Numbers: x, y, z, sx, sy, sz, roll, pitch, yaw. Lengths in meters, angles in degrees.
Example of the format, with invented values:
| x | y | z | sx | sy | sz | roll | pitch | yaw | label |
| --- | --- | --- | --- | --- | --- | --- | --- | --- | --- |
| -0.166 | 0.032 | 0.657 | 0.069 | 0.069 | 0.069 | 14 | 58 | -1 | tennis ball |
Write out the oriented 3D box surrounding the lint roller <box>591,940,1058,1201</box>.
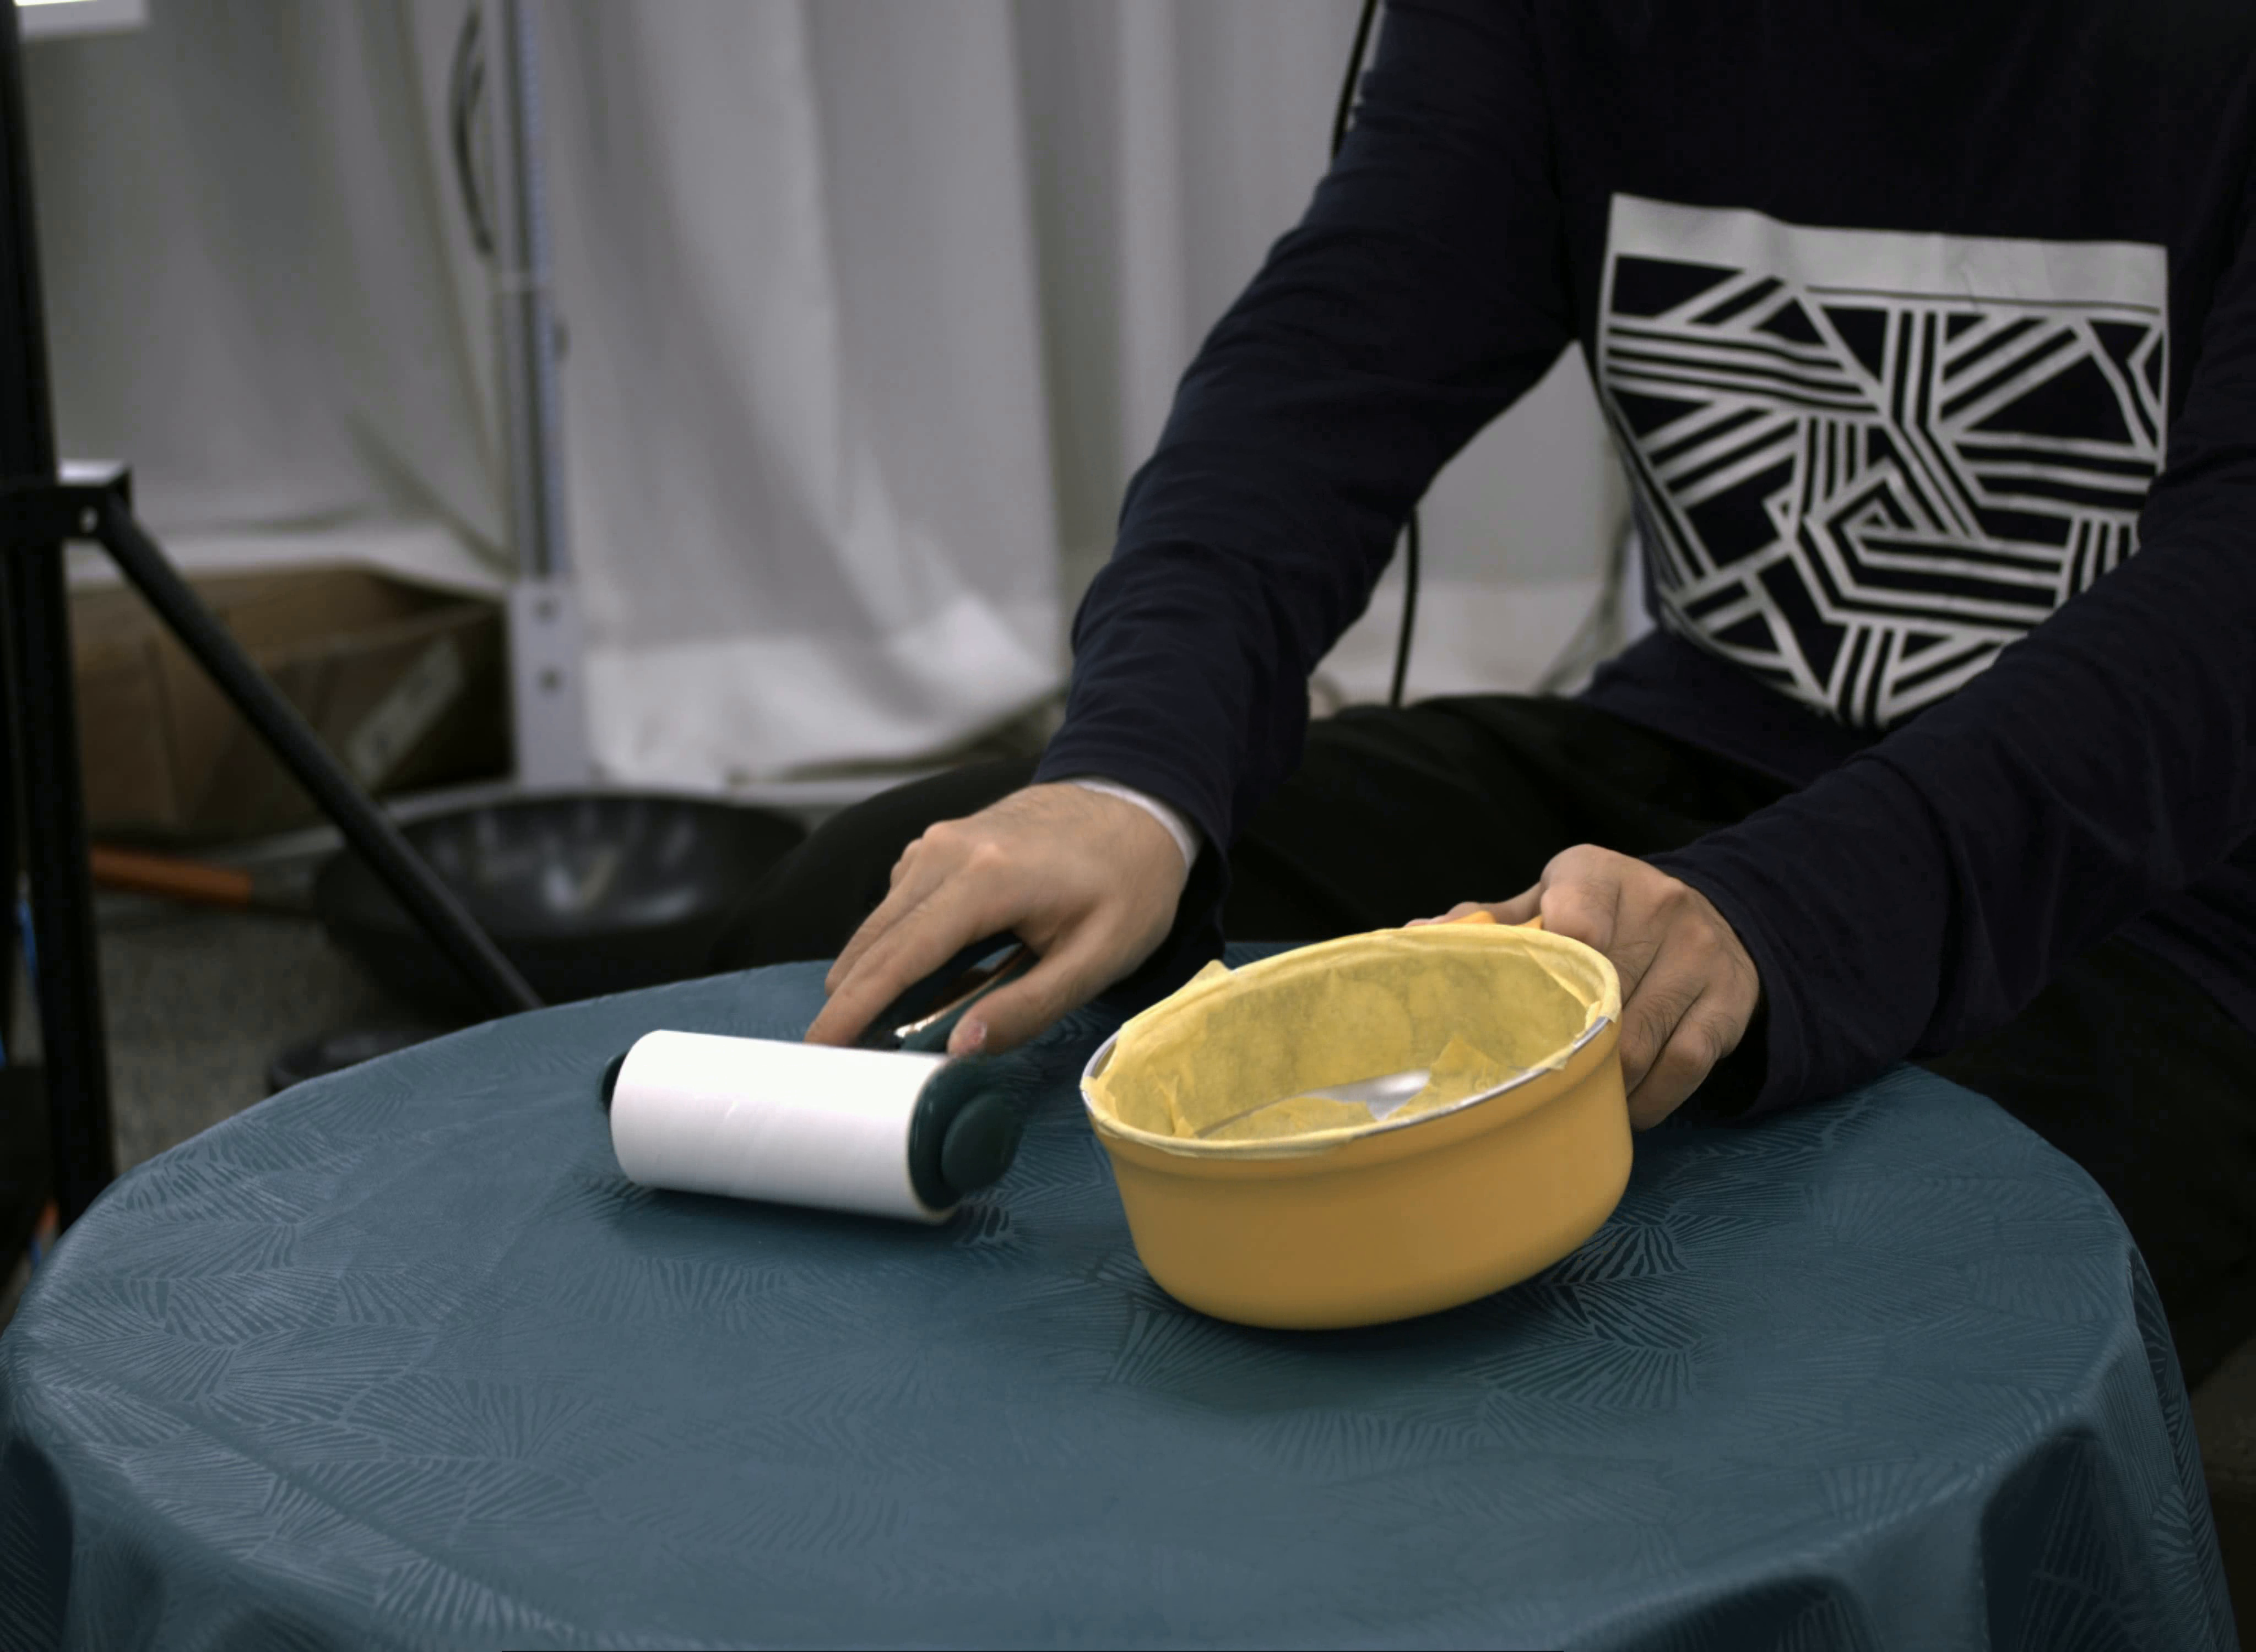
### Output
| x | y | z | sx | sy | sz | roll | pitch | yaw | label |
| --- | --- | --- | --- | --- | --- | --- | --- | --- | --- |
| -0.069 | 0.057 | 1.610 | 0.136 | 0.048 | 0.178 | 1 | 25 | 28 | lint roller |

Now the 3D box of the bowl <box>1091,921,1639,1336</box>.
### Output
| x | y | z | sx | sy | sz | roll | pitch | yaw | label |
| --- | --- | --- | --- | --- | --- | --- | --- | --- | --- |
| 0.078 | 0.083 | 1.486 | 0.155 | 0.074 | 0.177 | -3 | 20 | 30 | bowl |
